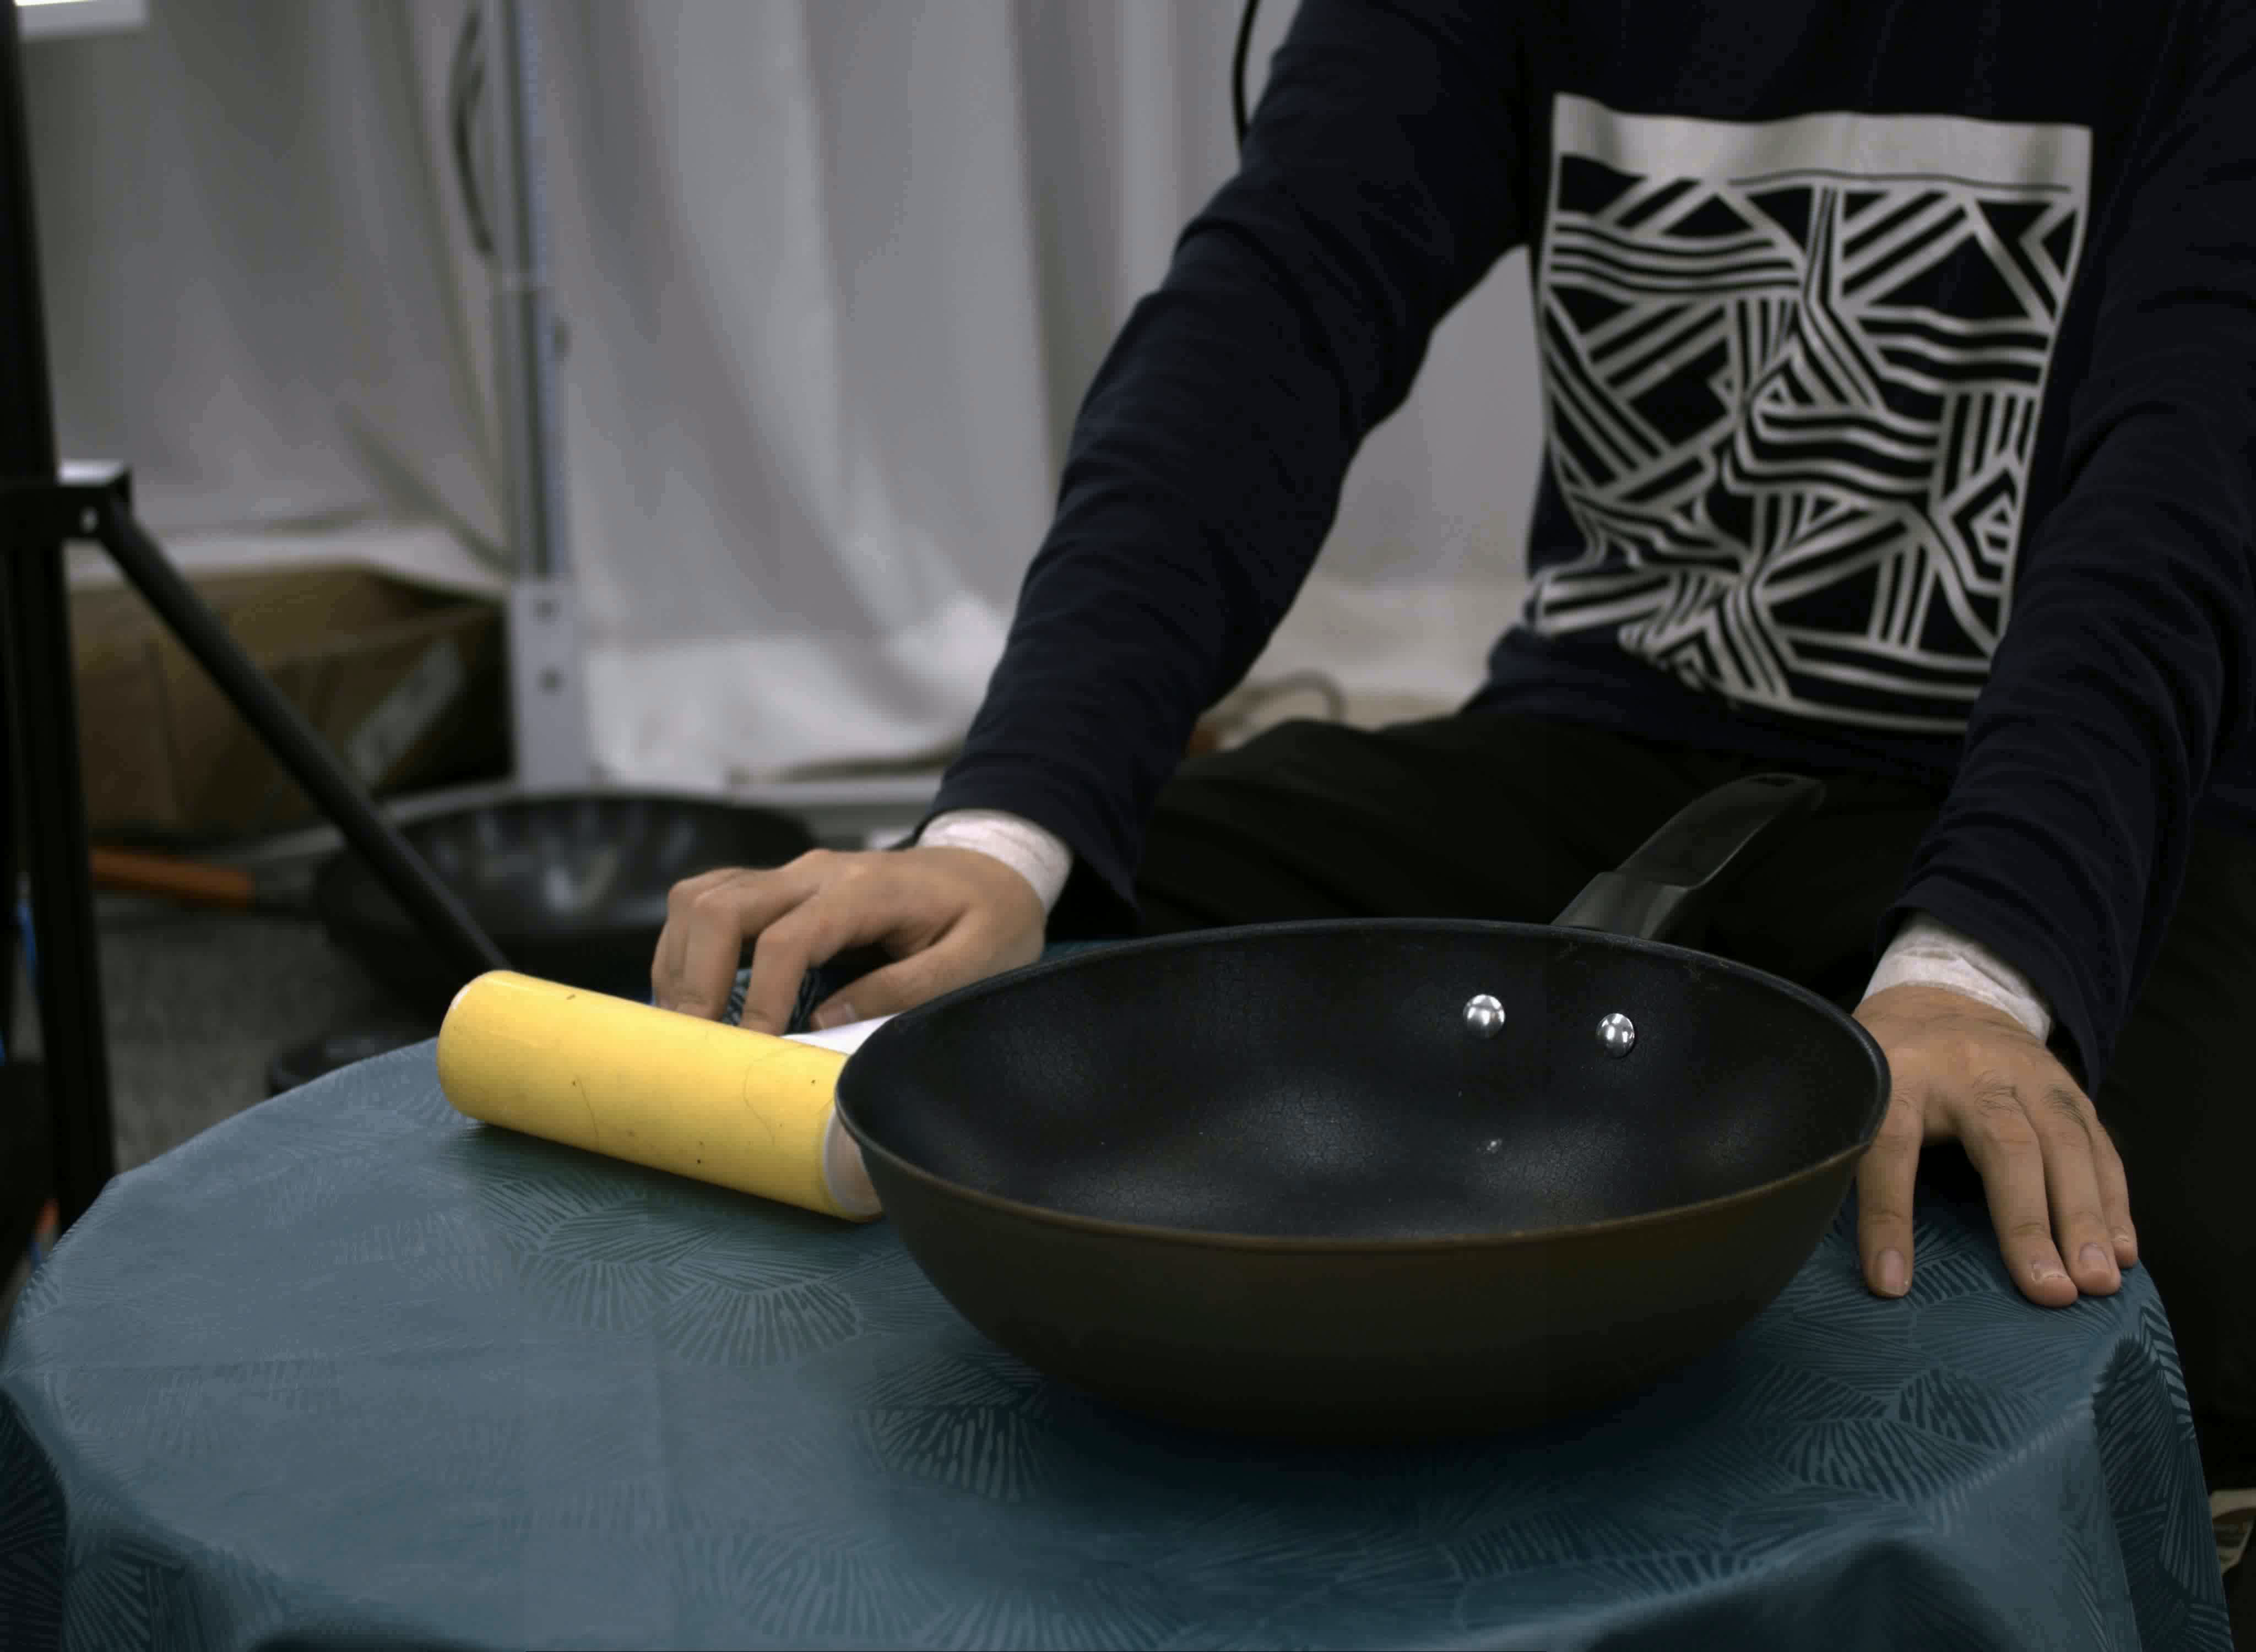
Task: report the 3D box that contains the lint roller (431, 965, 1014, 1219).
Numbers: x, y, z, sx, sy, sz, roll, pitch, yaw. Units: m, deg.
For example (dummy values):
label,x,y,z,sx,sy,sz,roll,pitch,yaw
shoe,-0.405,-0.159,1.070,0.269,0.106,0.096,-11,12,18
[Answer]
label,x,y,z,sx,sy,sz,roll,pitch,yaw
lint roller,-0.092,0.063,1.648,0.178,0.051,0.188,11,22,38

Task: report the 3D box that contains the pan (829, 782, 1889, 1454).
label,x,y,z,sx,sy,sz,roll,pitch,yaw
pan,0.103,0.079,1.499,0.293,0.087,0.455,7,18,27
